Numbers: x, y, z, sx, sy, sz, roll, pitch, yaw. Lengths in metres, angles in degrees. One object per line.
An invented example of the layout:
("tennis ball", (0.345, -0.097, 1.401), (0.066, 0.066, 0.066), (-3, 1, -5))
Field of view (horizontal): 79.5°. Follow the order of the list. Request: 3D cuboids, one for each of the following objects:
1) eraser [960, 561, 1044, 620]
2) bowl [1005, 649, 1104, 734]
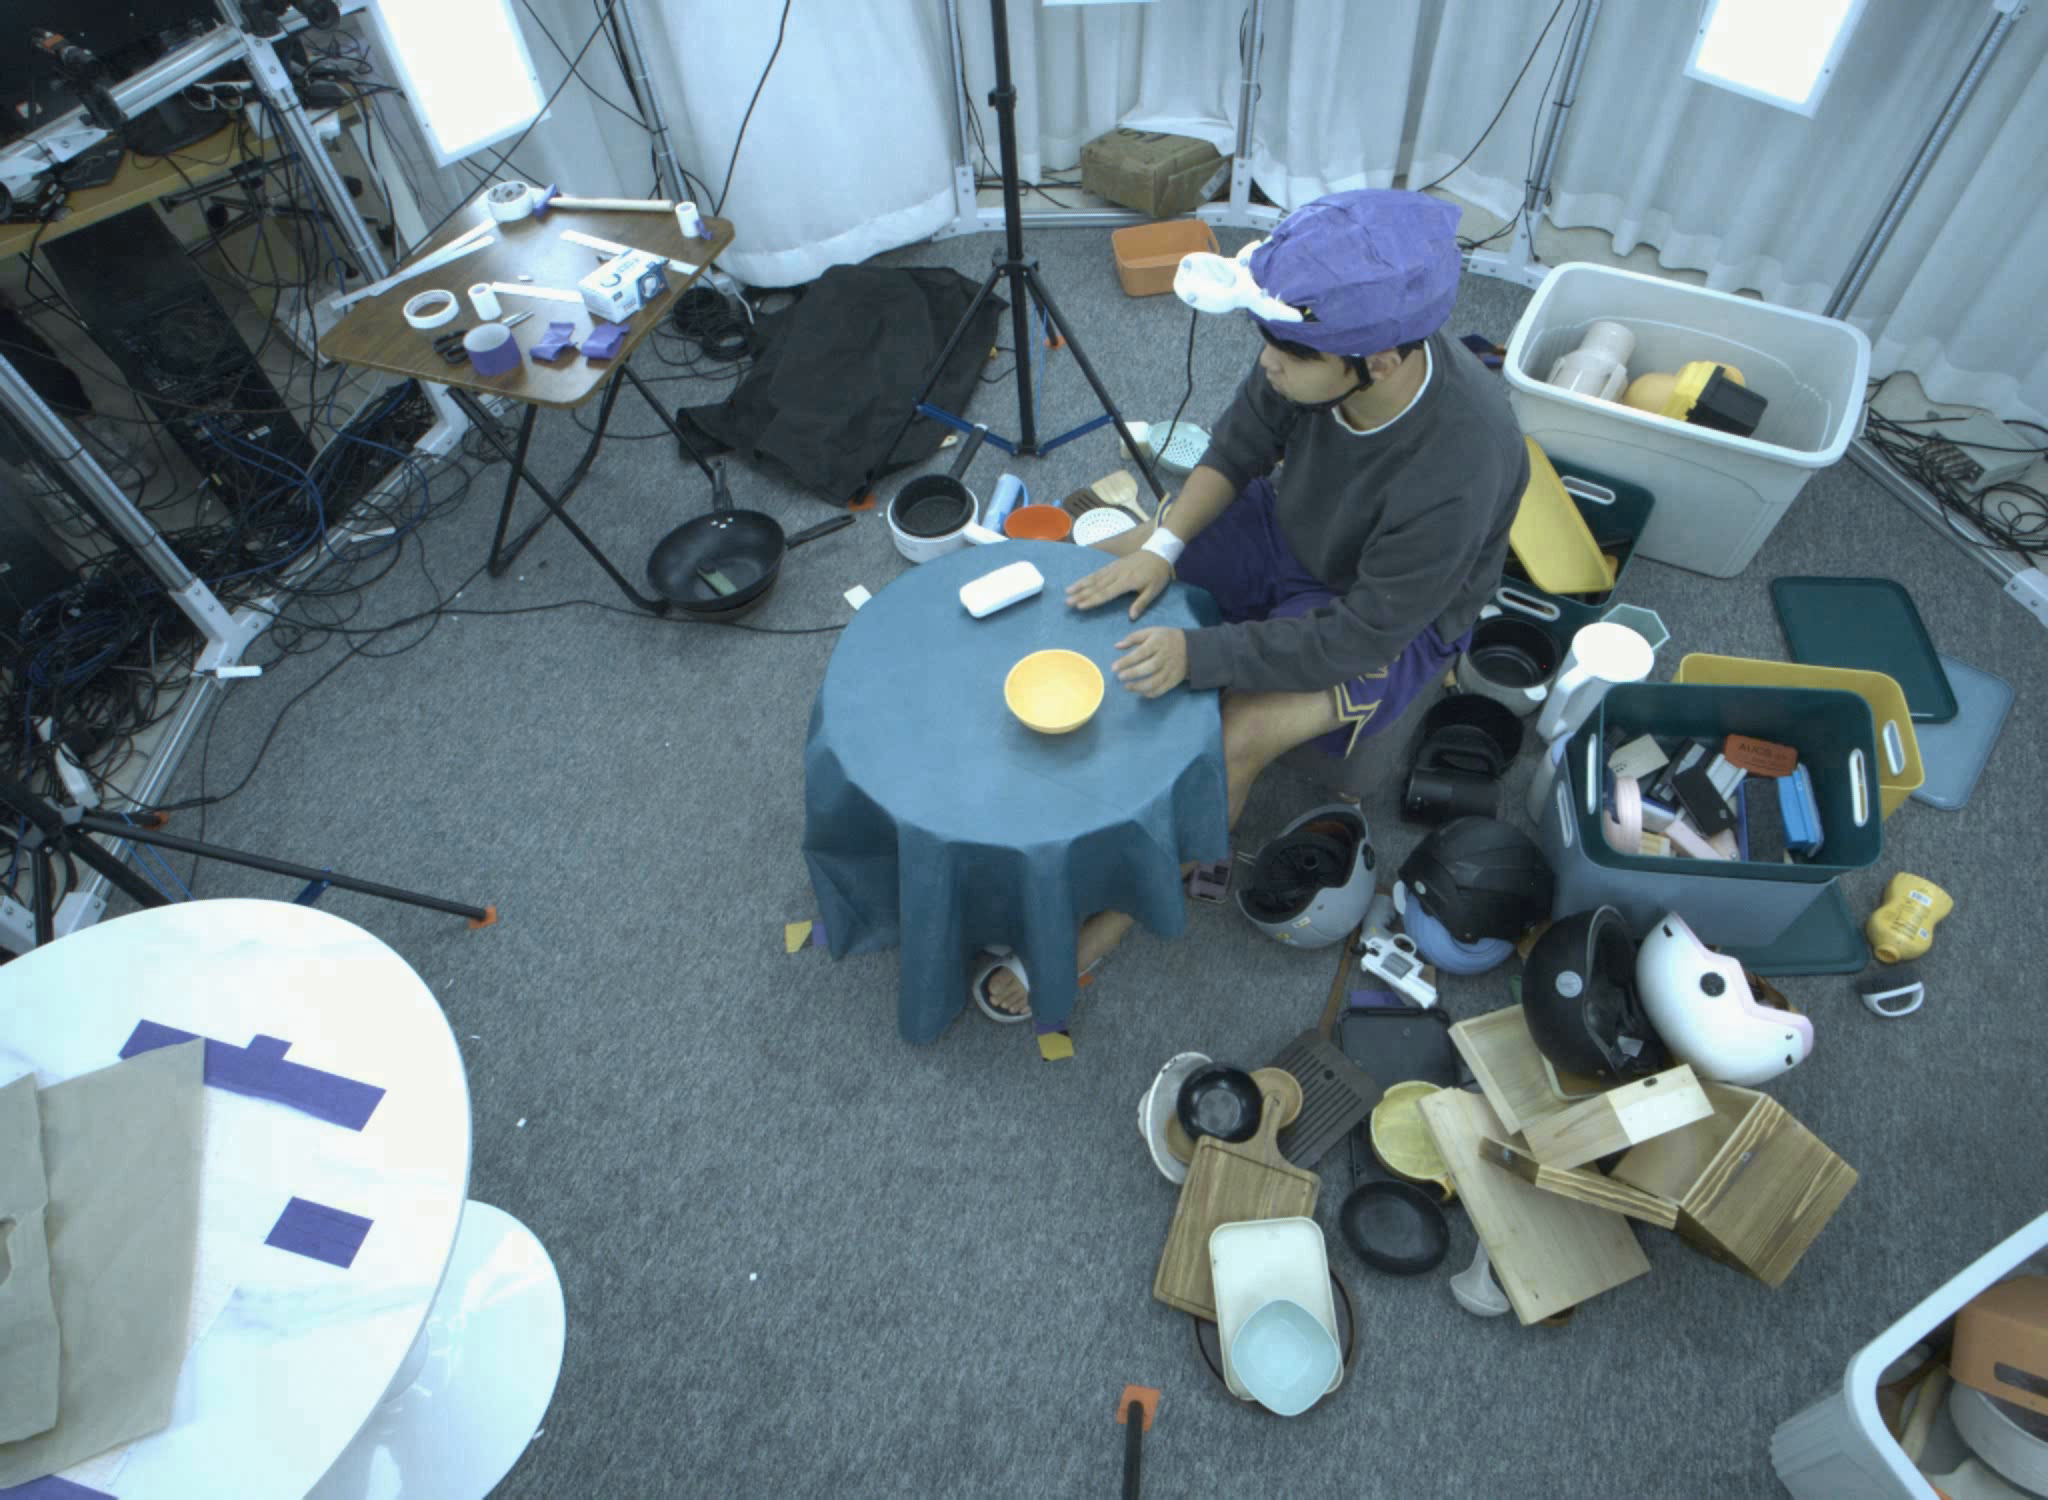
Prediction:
("eraser", (-0.034, -0.255, 1.953), (0.132, 0.035, 0.062), (-25, 58, -14))
("bowl", (0.045, -0.075, 1.808), (0.145, 0.060, 0.144), (1, 55, 0))
